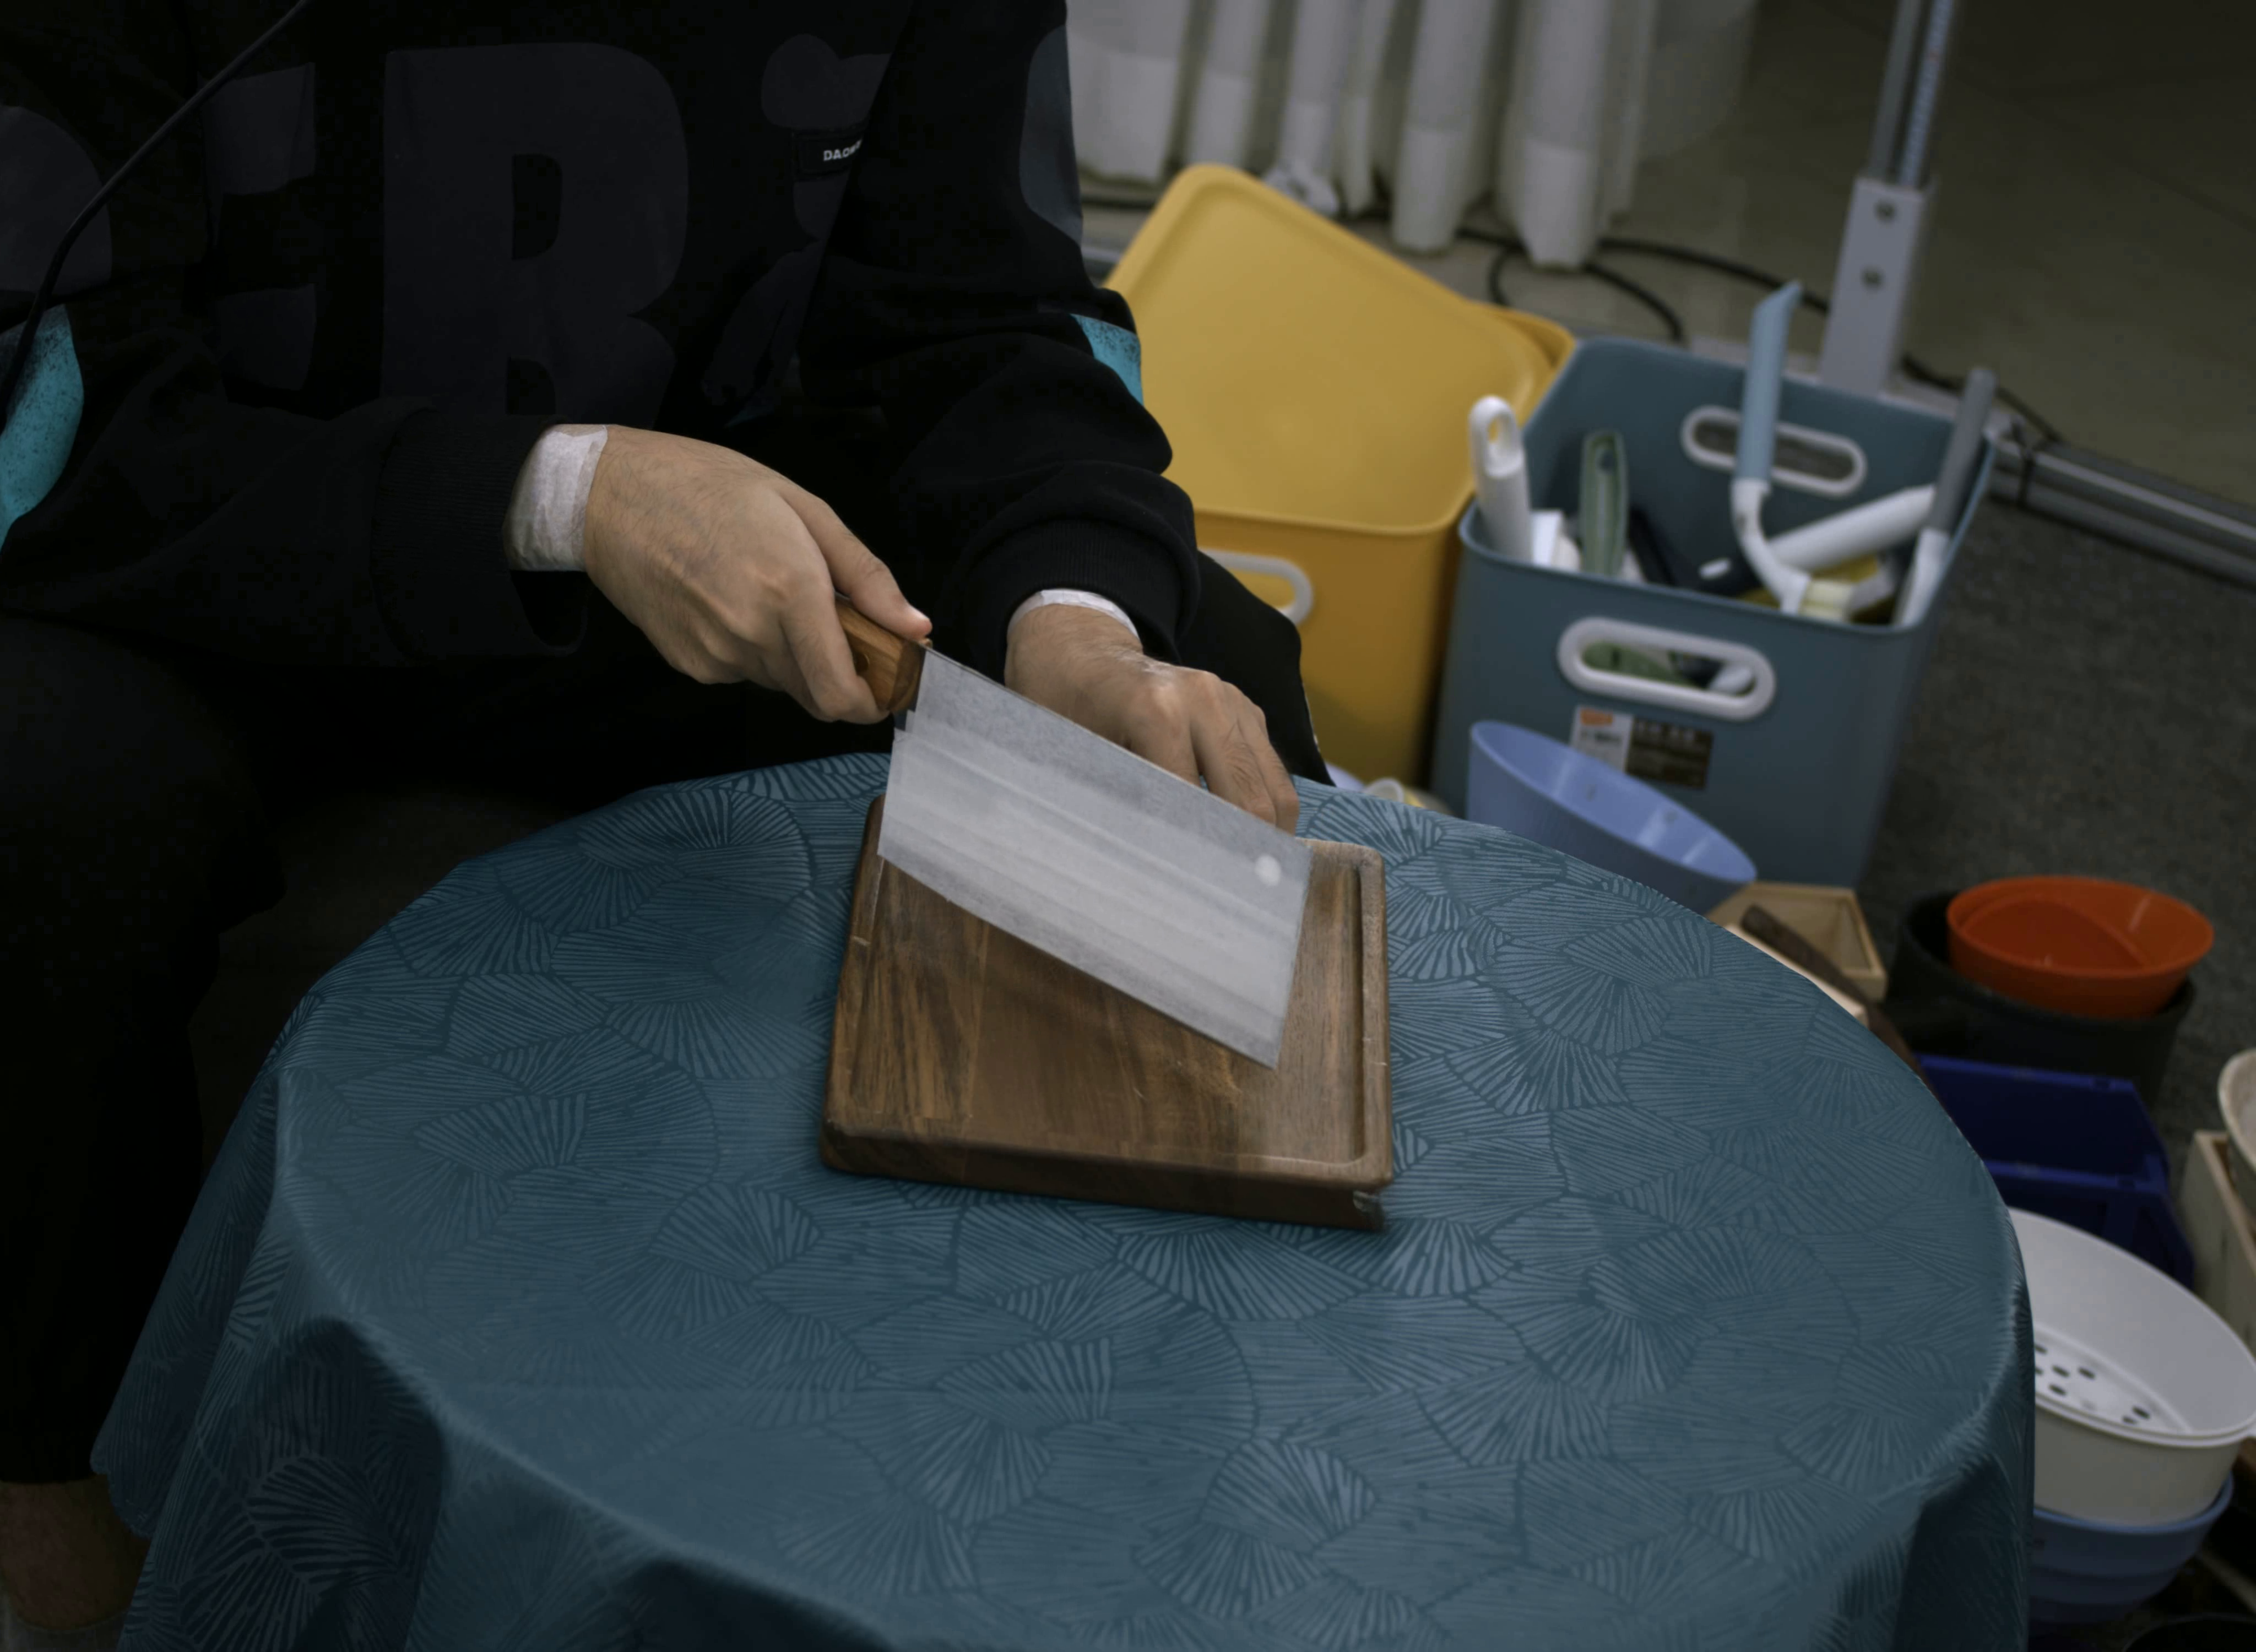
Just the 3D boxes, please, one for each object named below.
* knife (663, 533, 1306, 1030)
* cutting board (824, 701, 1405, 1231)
[{"bbox_3d":[-0.057,-0.014,1.890,0.308,0.092,0.021,28,32,33],"label":"knife"},{"bbox_3d":[-0.003,0.040,1.942,0.200,0.023,0.354,6,27,-2],"label":"cutting board"}]
